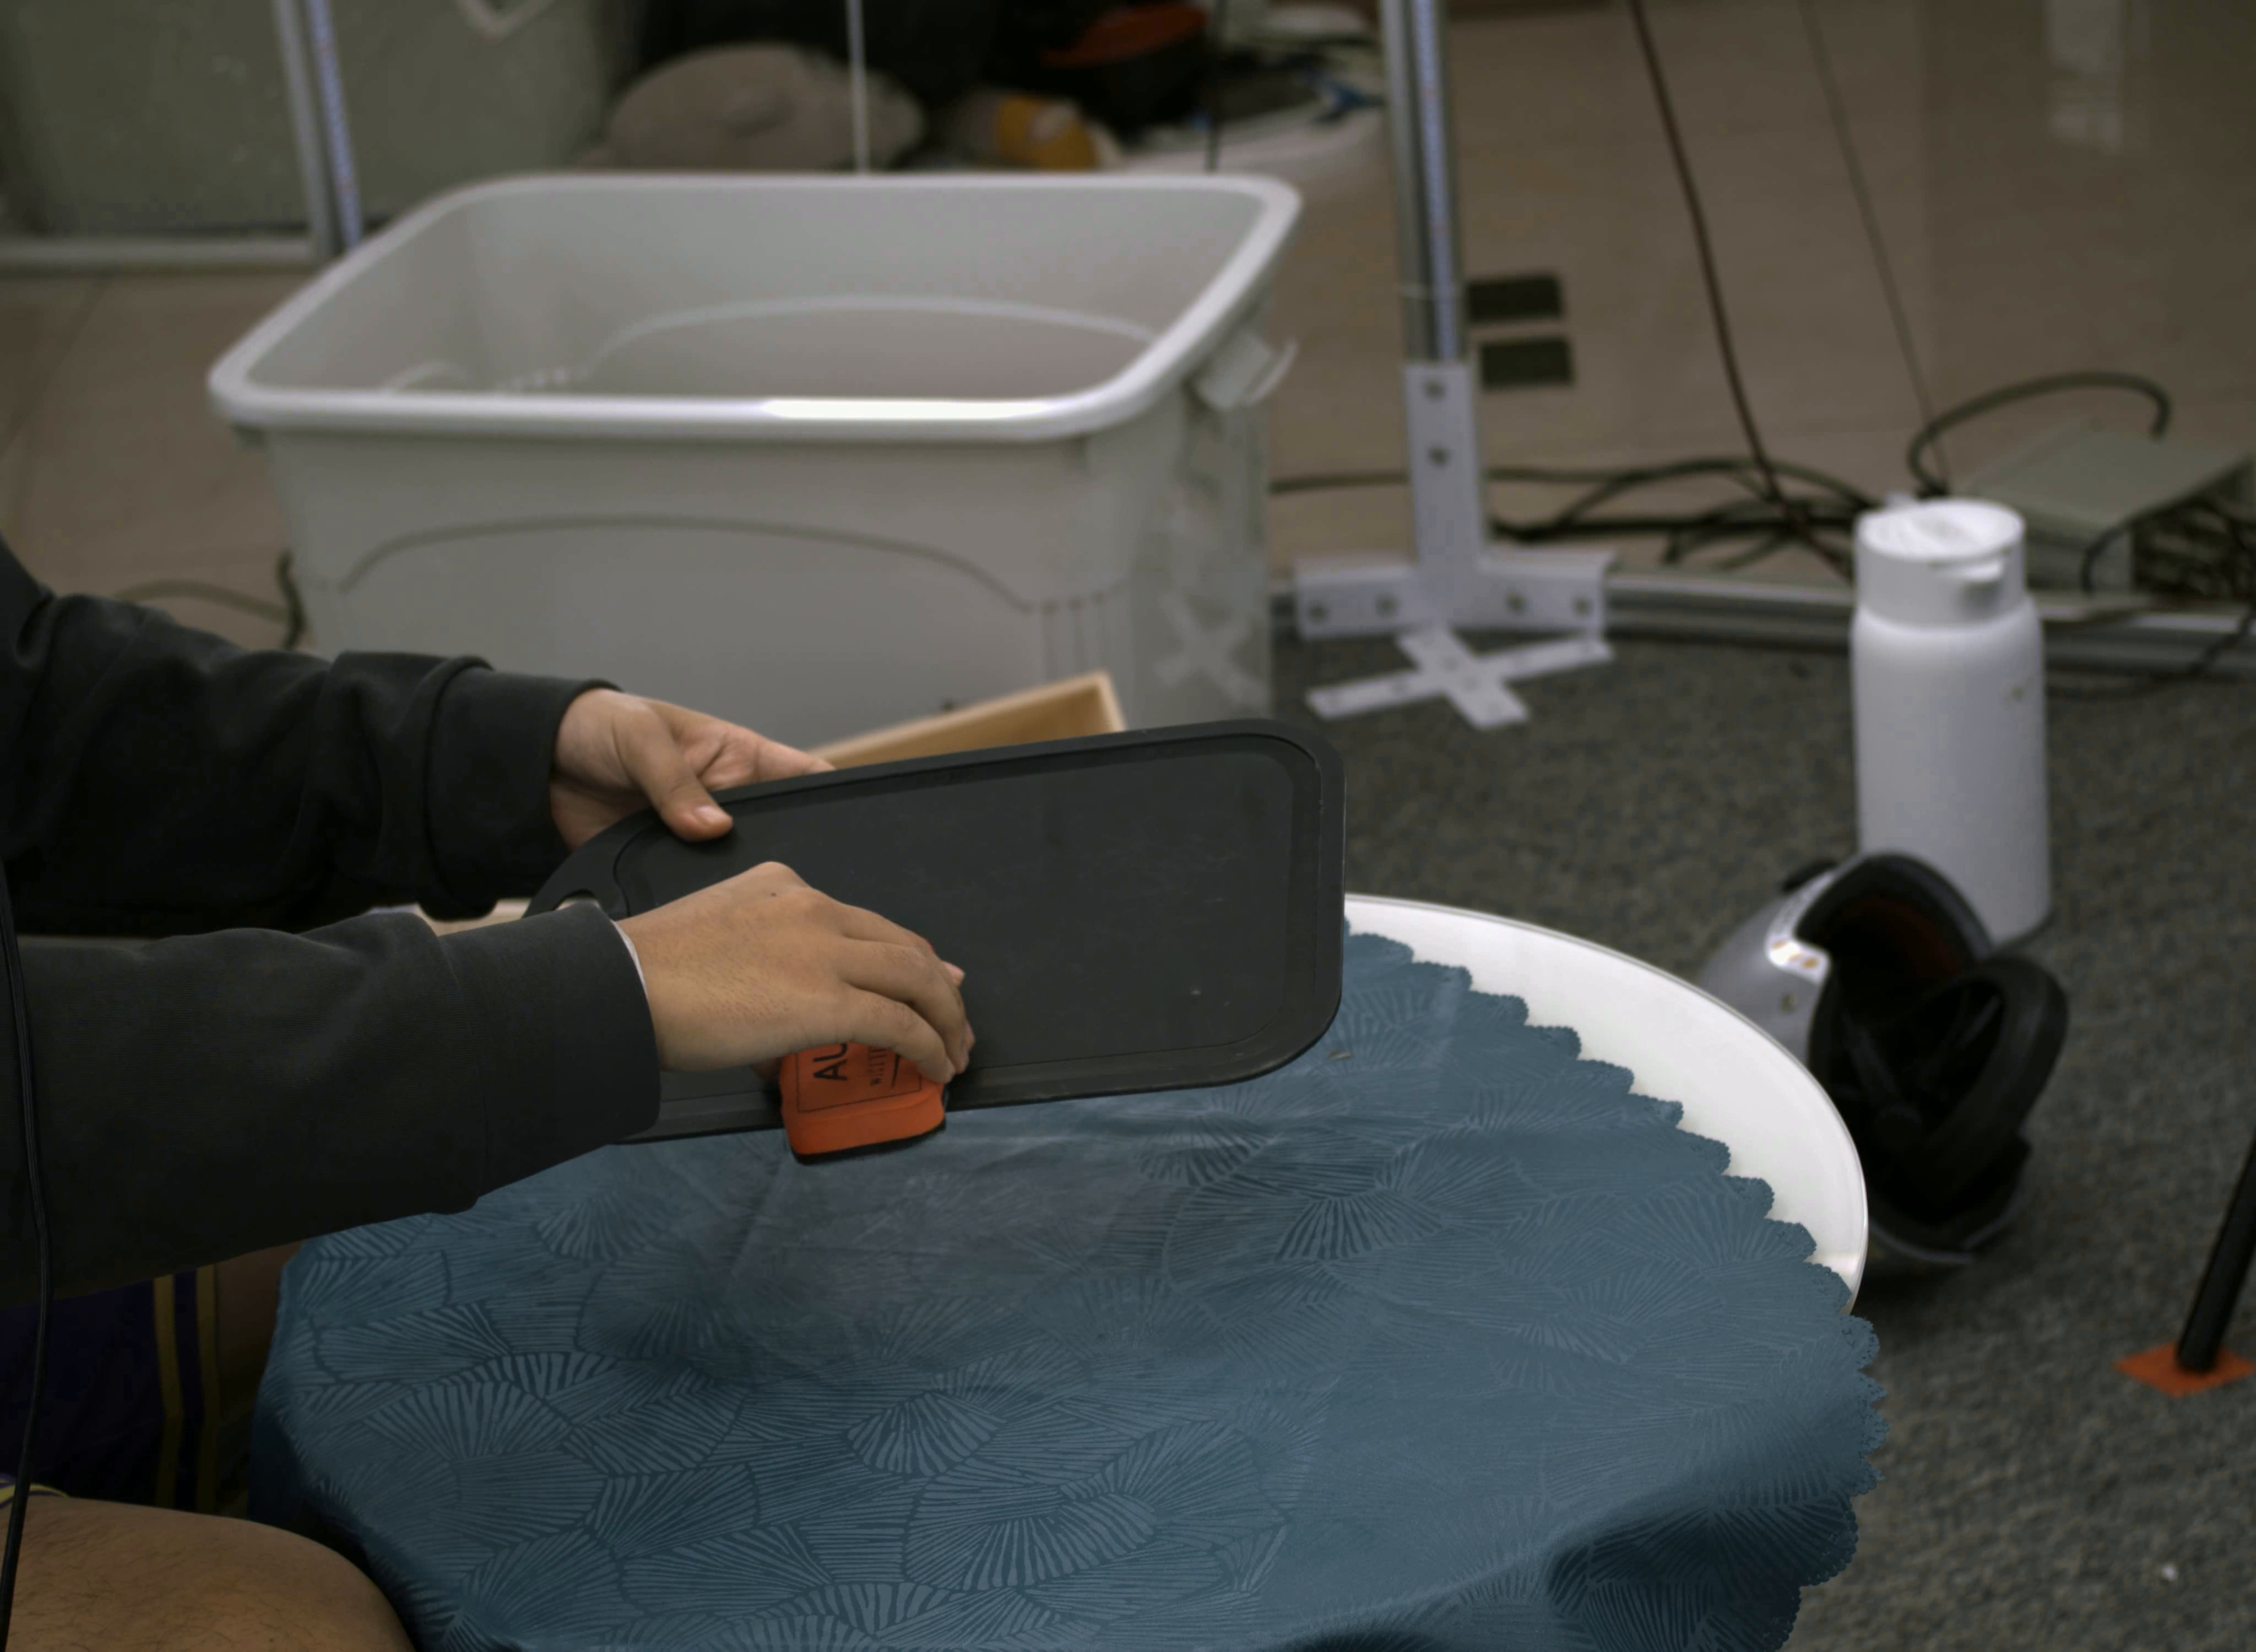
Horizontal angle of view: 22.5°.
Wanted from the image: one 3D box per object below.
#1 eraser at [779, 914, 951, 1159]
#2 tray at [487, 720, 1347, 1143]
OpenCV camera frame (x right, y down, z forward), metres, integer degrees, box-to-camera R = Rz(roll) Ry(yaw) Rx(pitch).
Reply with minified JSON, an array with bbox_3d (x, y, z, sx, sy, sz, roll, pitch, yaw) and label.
[{"bbox_3d":[-0.095,0.075,2.043,0.059,0.023,0.106,-10,36,3],"label":"eraser"},{"bbox_3d":[-0.081,0.037,2.108,0.325,0.010,0.207,-6,39,9],"label":"tray"}]
